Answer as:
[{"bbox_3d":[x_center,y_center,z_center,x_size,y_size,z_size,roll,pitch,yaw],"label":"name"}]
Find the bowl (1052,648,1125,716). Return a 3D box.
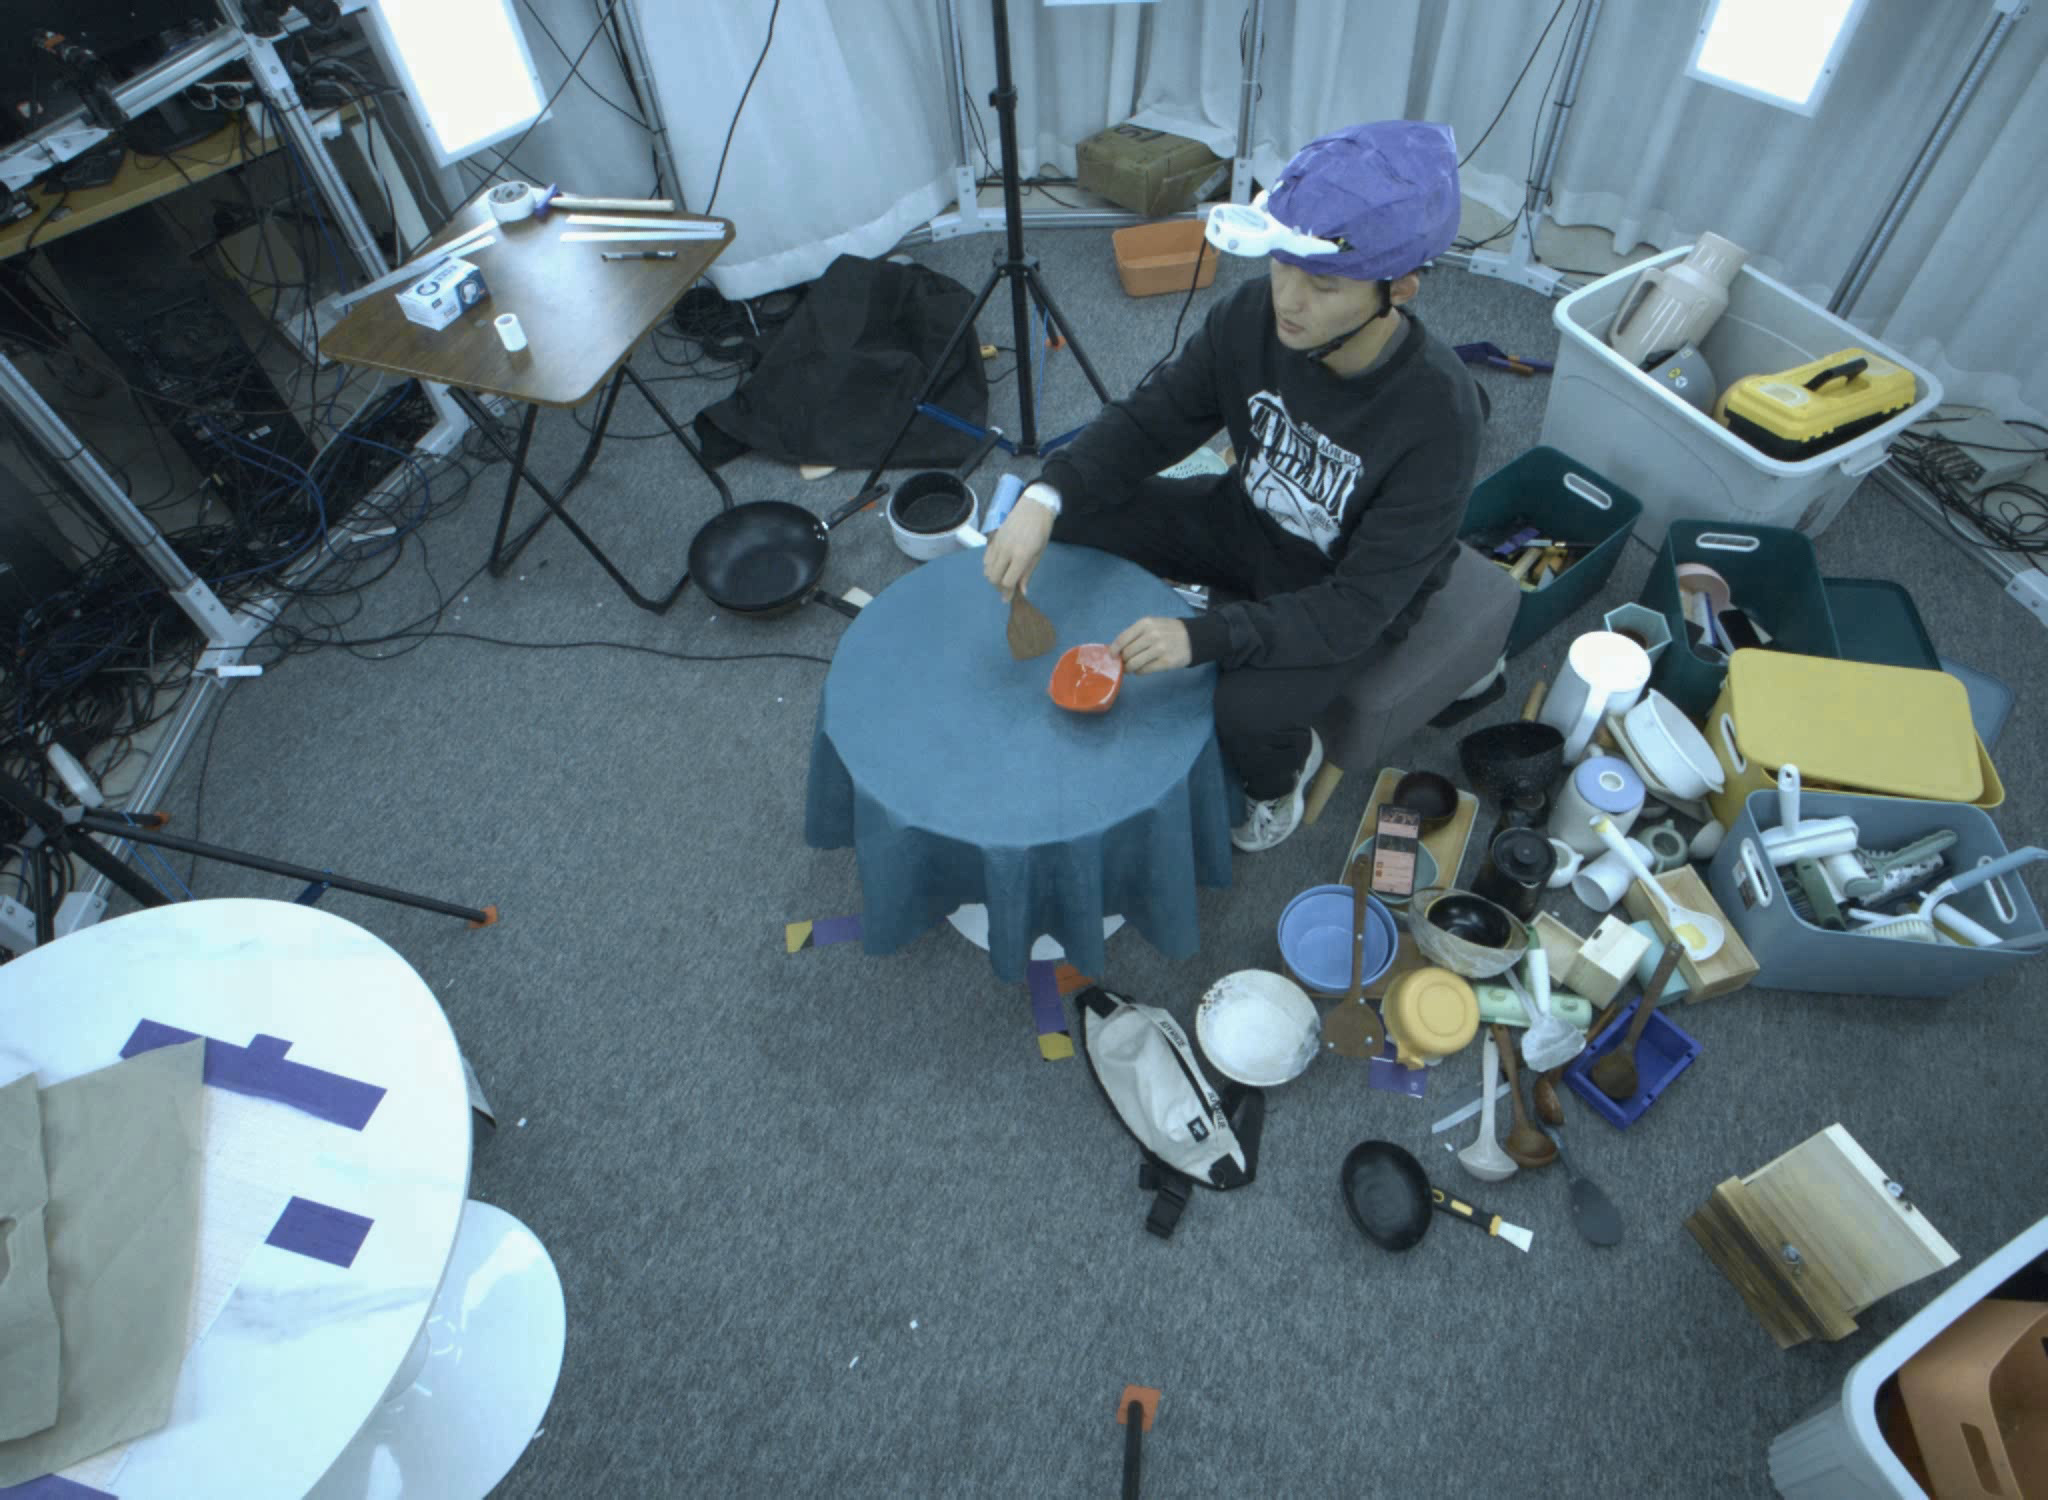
[{"bbox_3d":[0.103,-0.092,1.816,0.117,0.052,0.118,-13,55,21],"label":"bowl"}]

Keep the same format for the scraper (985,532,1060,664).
[{"bbox_3d":[-0.014,-0.228,1.821,0.076,0.011,0.210,-18,81,-9],"label":"scraper"}]
